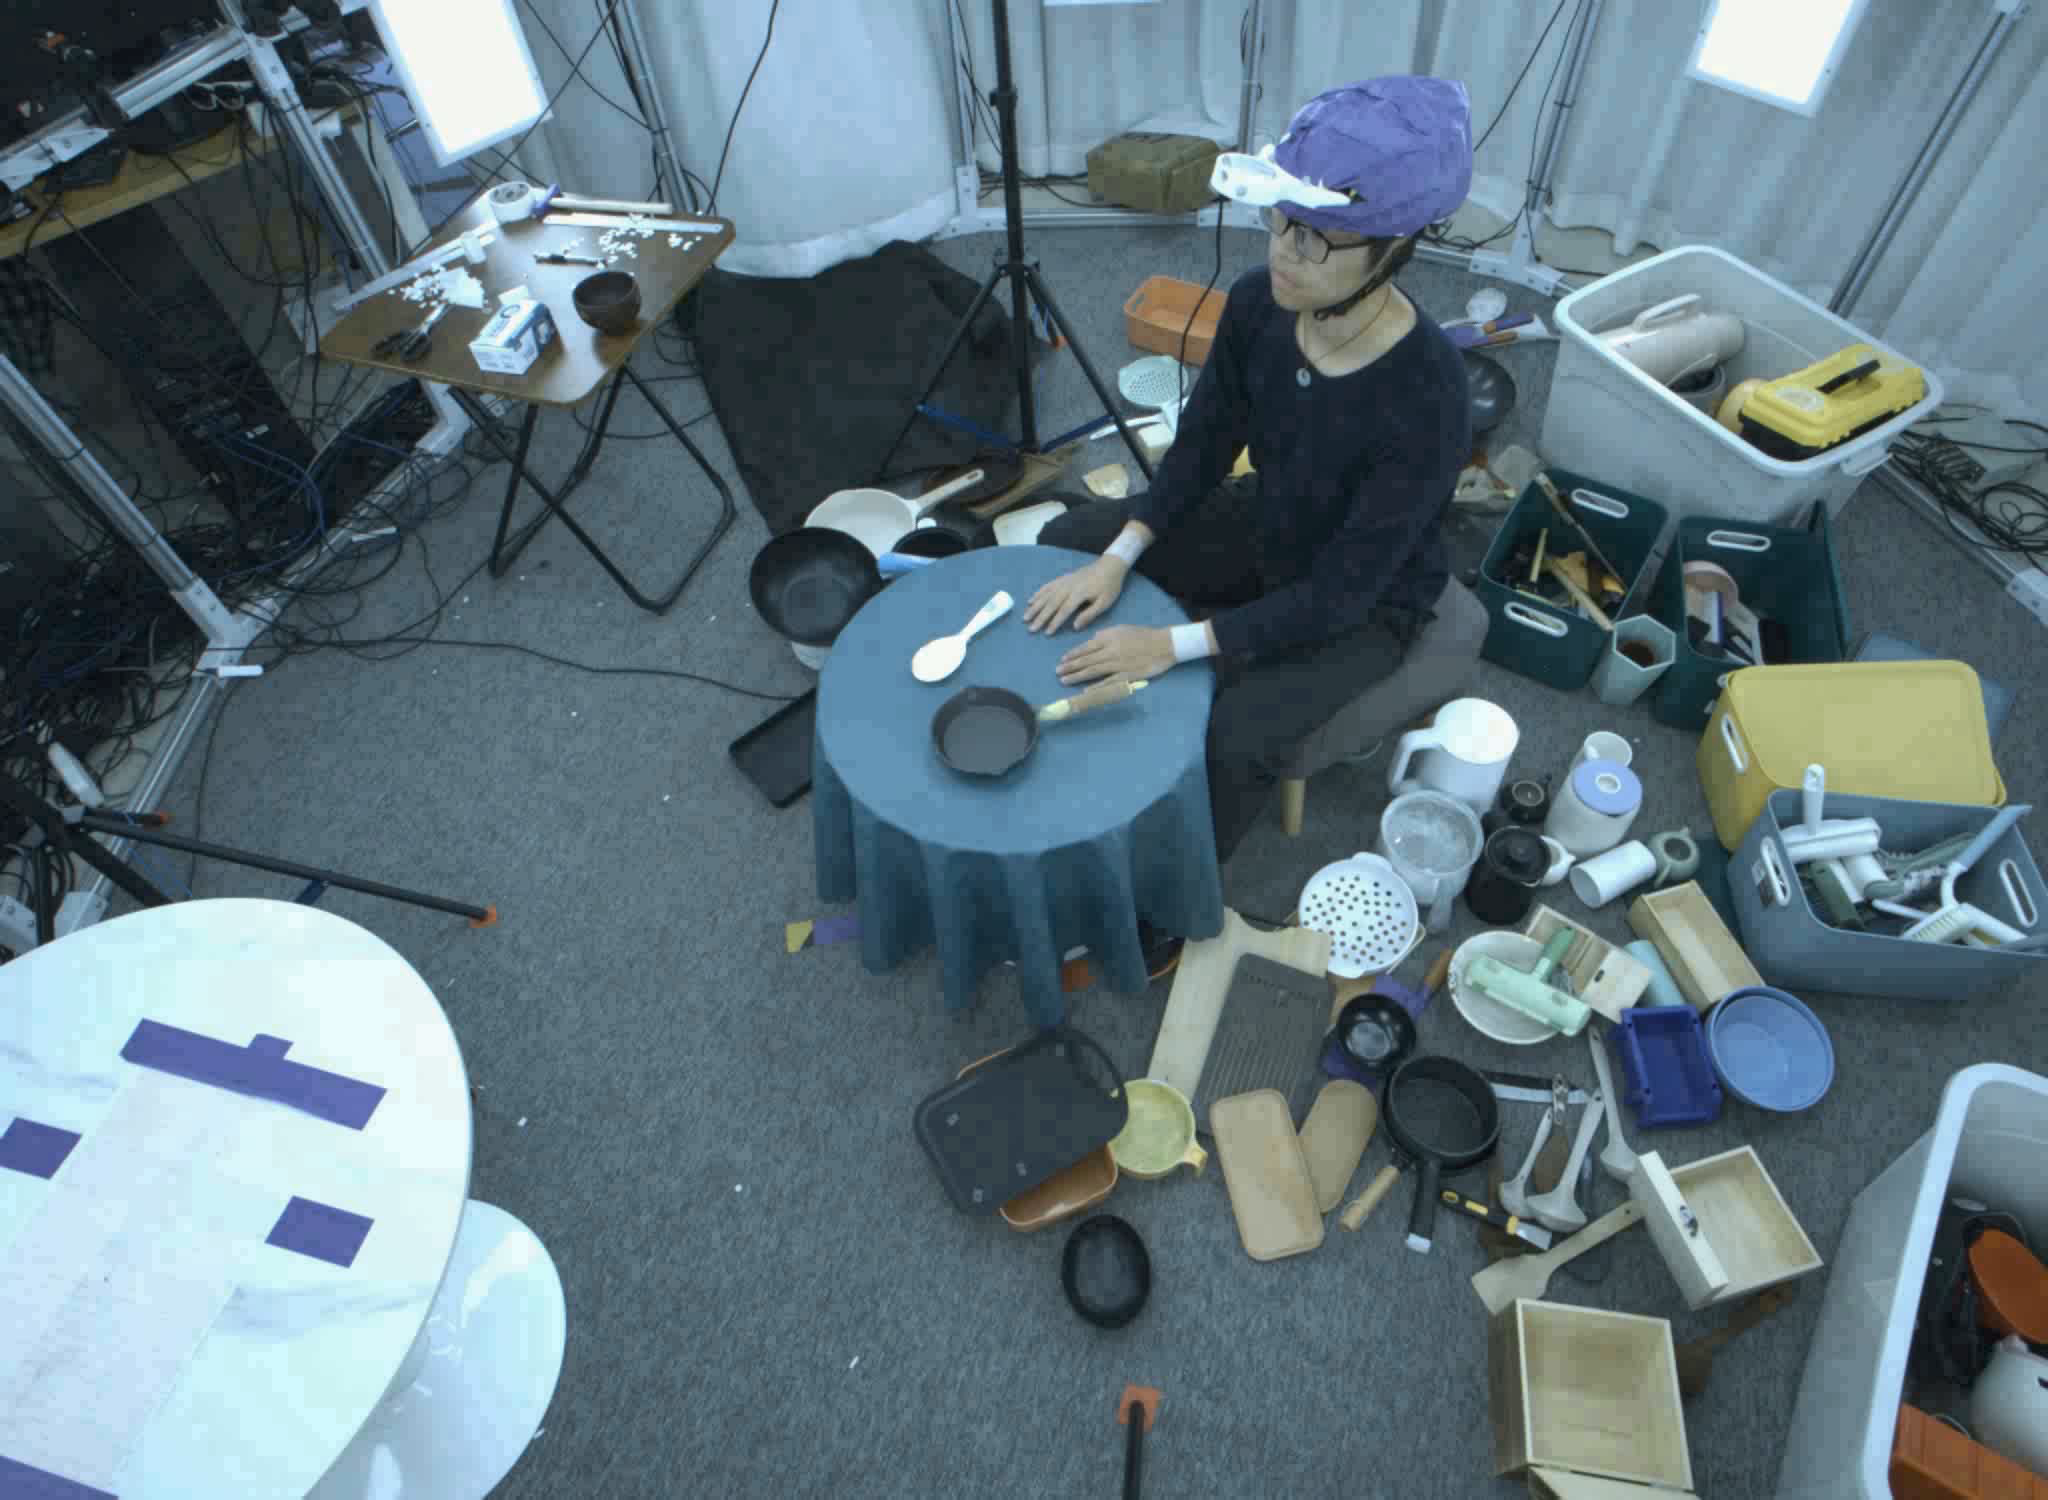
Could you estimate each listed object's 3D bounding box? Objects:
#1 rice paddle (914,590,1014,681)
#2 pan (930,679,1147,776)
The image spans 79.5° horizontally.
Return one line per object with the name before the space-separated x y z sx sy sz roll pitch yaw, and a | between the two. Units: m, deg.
rice paddle | -0.093 -0.176 1.897 0.067 0.030 0.206 32 61 25
pan | 0.024 -0.048 1.789 0.325 0.050 0.166 -14 55 -6
